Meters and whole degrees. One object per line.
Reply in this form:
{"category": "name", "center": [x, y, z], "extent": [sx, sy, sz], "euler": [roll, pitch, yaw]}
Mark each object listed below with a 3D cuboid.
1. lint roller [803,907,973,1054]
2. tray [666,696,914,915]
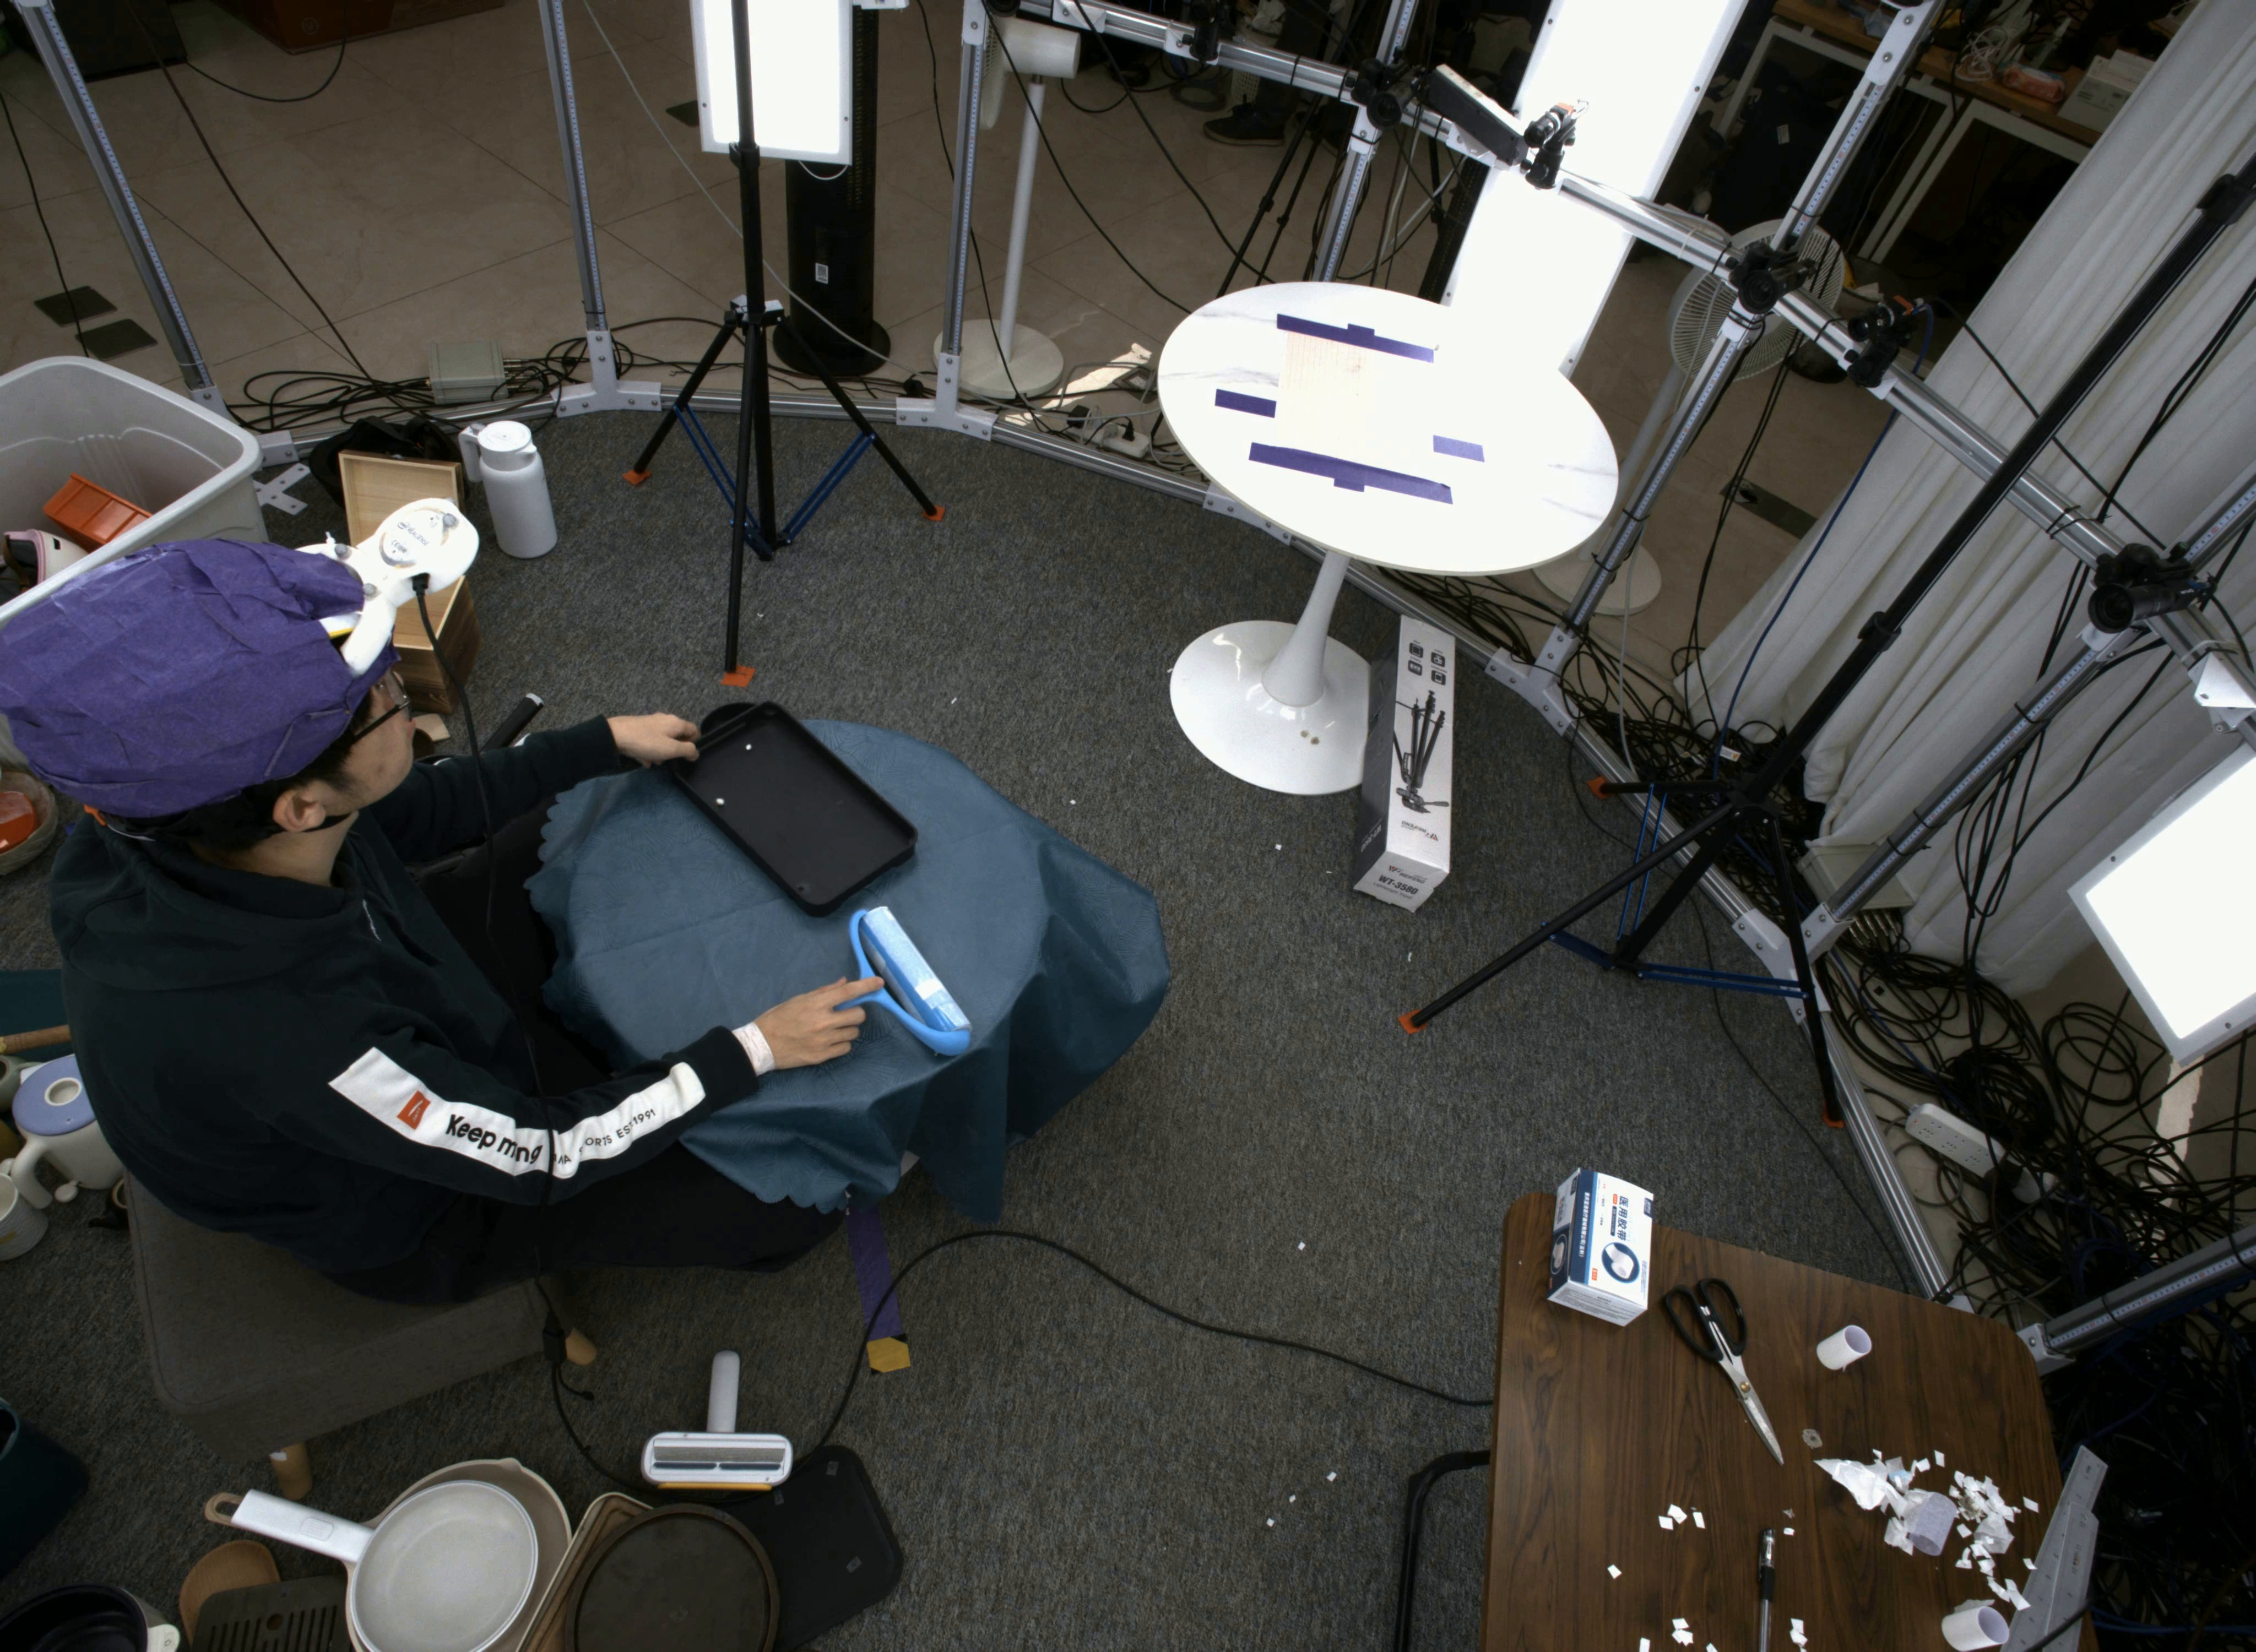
{"category": "lint roller", "center": [-0.310, 0.209, 1.569], "extent": [0.181, 0.069, 0.224], "euler": [-30, 68, -32]}
{"category": "tray", "center": [-0.451, -0.033, 1.725], "extent": [0.312, 0.038, 0.184], "euler": [41, 55, 14]}
